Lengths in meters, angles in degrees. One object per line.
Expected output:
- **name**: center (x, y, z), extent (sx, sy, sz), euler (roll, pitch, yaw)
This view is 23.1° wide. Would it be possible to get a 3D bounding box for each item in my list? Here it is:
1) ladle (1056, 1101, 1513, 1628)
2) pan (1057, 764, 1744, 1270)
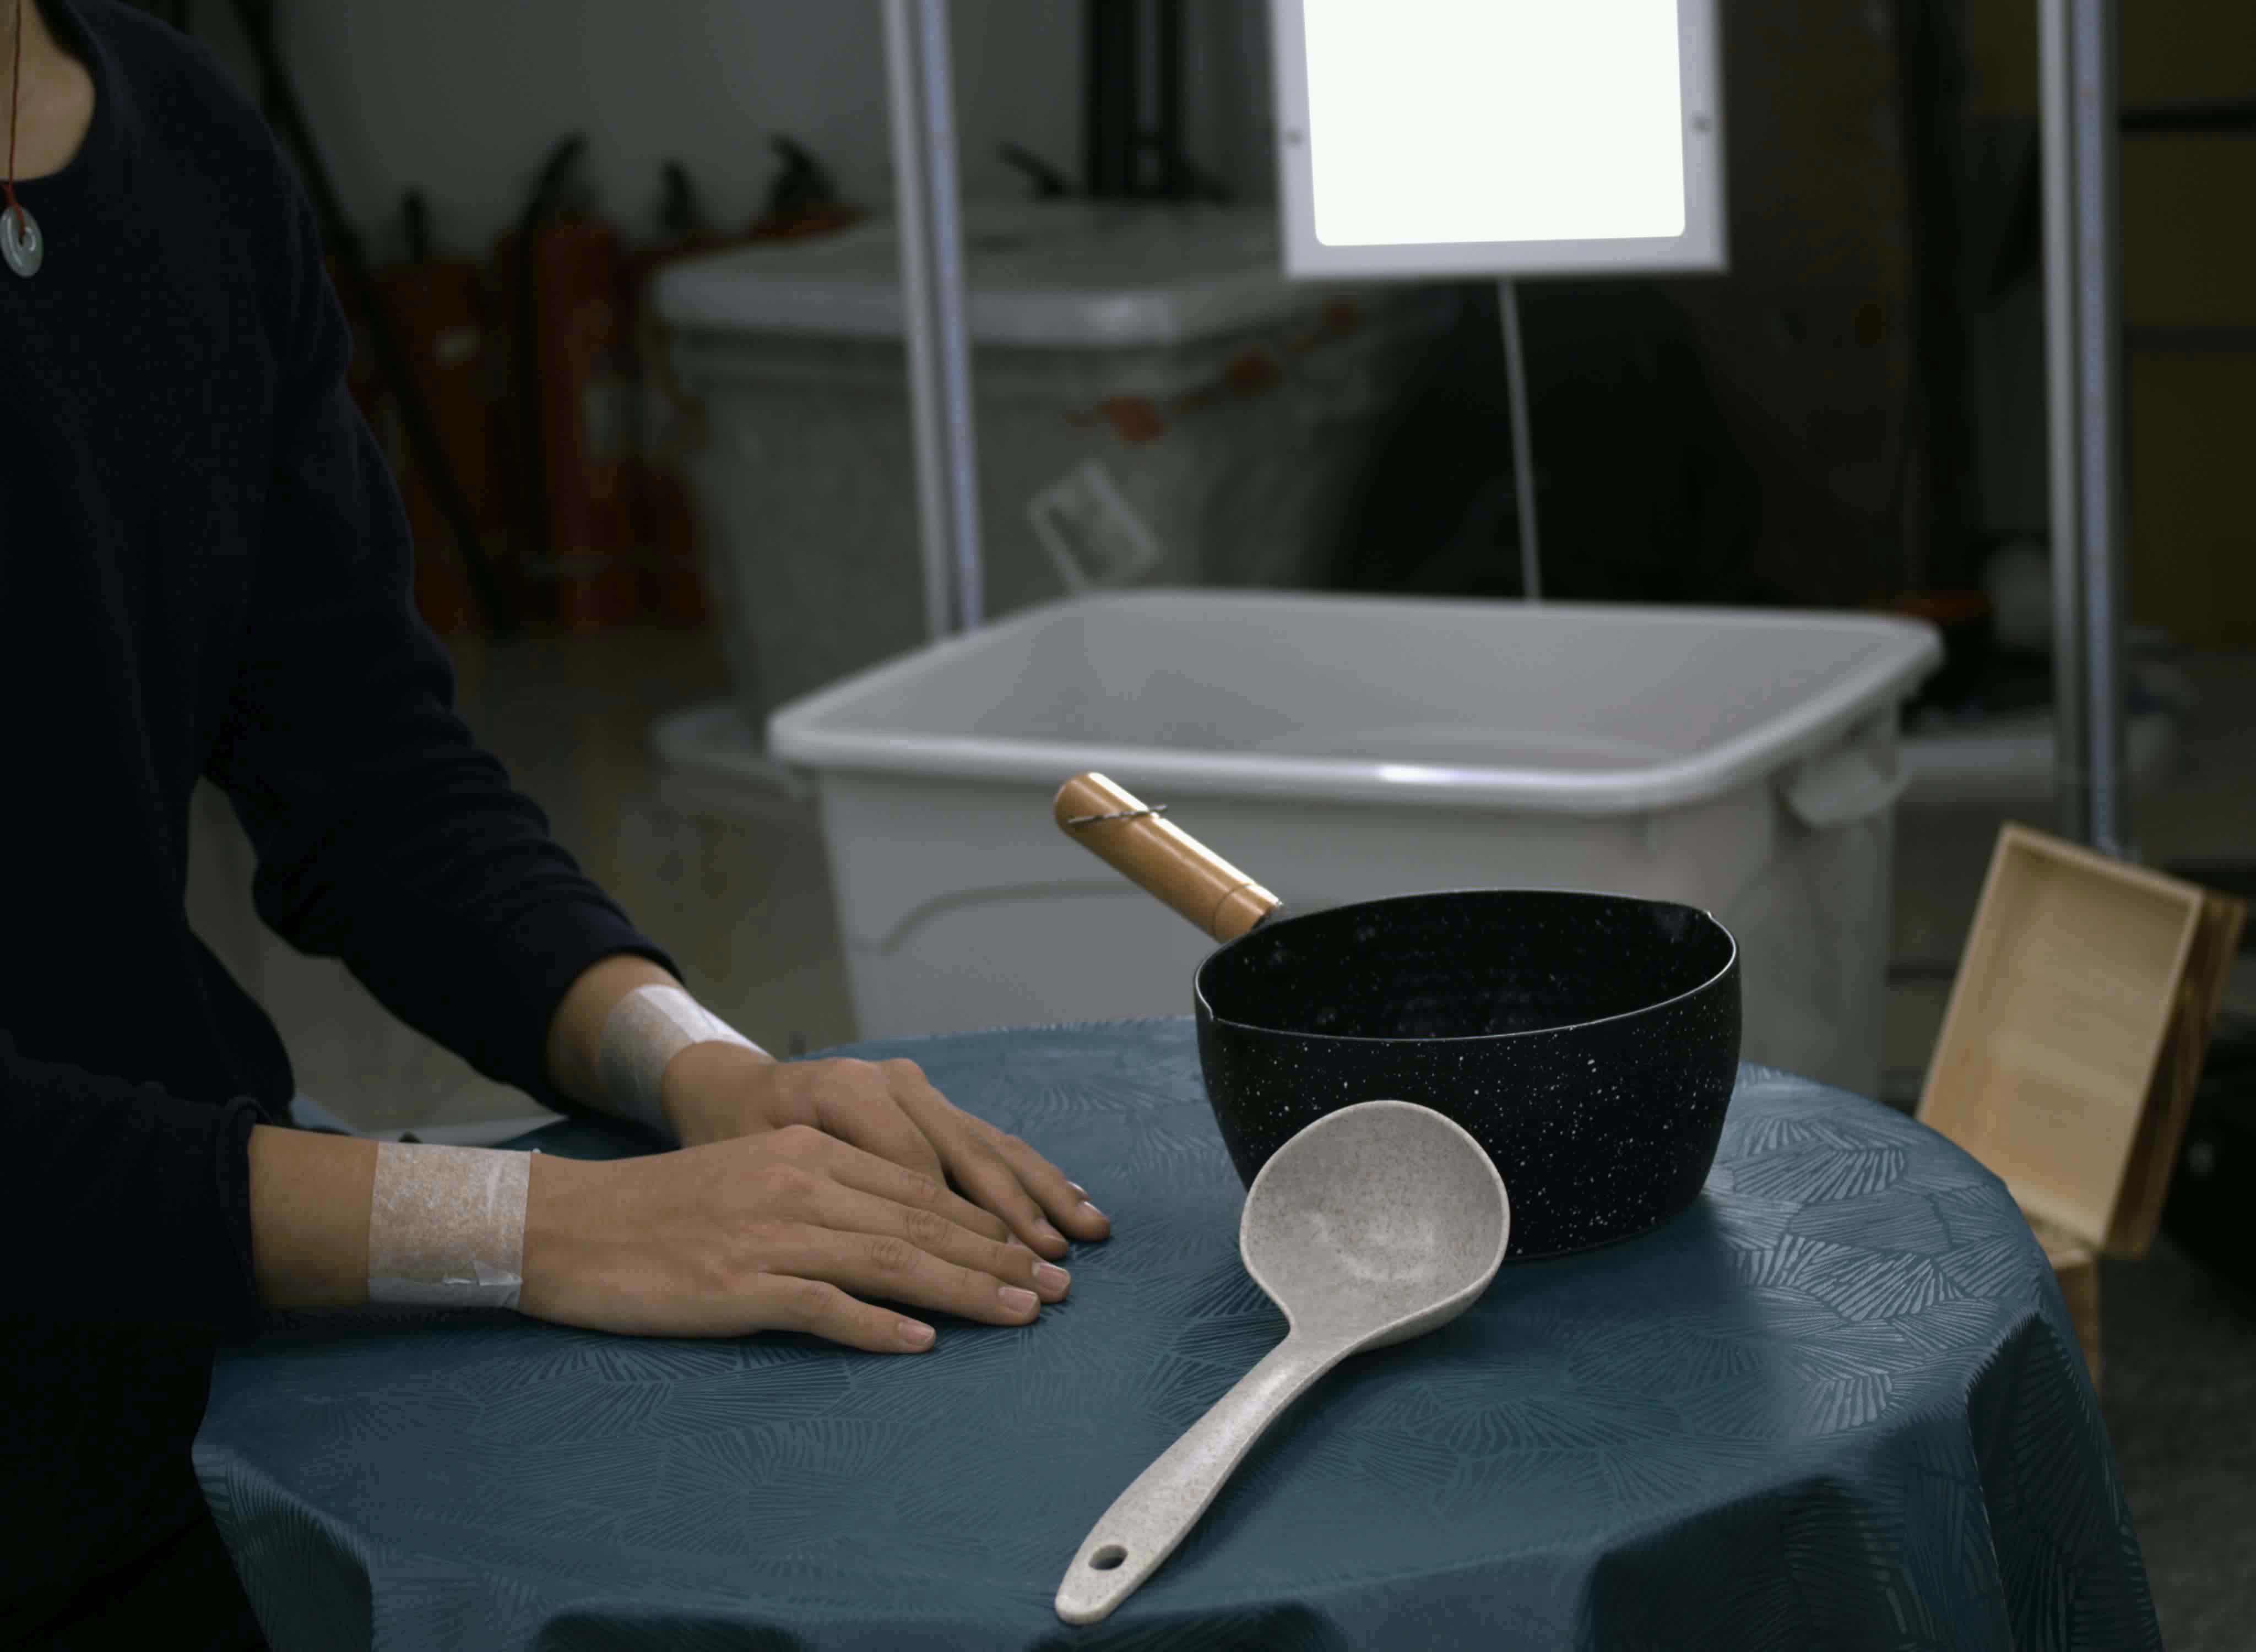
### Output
- **ladle**: center (0.038, 0.154, 1.632), extent (0.090, 0.070, 0.269), euler (9, 18, 21)
- **pan**: center (0.072, 0.060, 1.911), extent (0.203, 0.108, 0.349), euler (-14, 18, -29)
